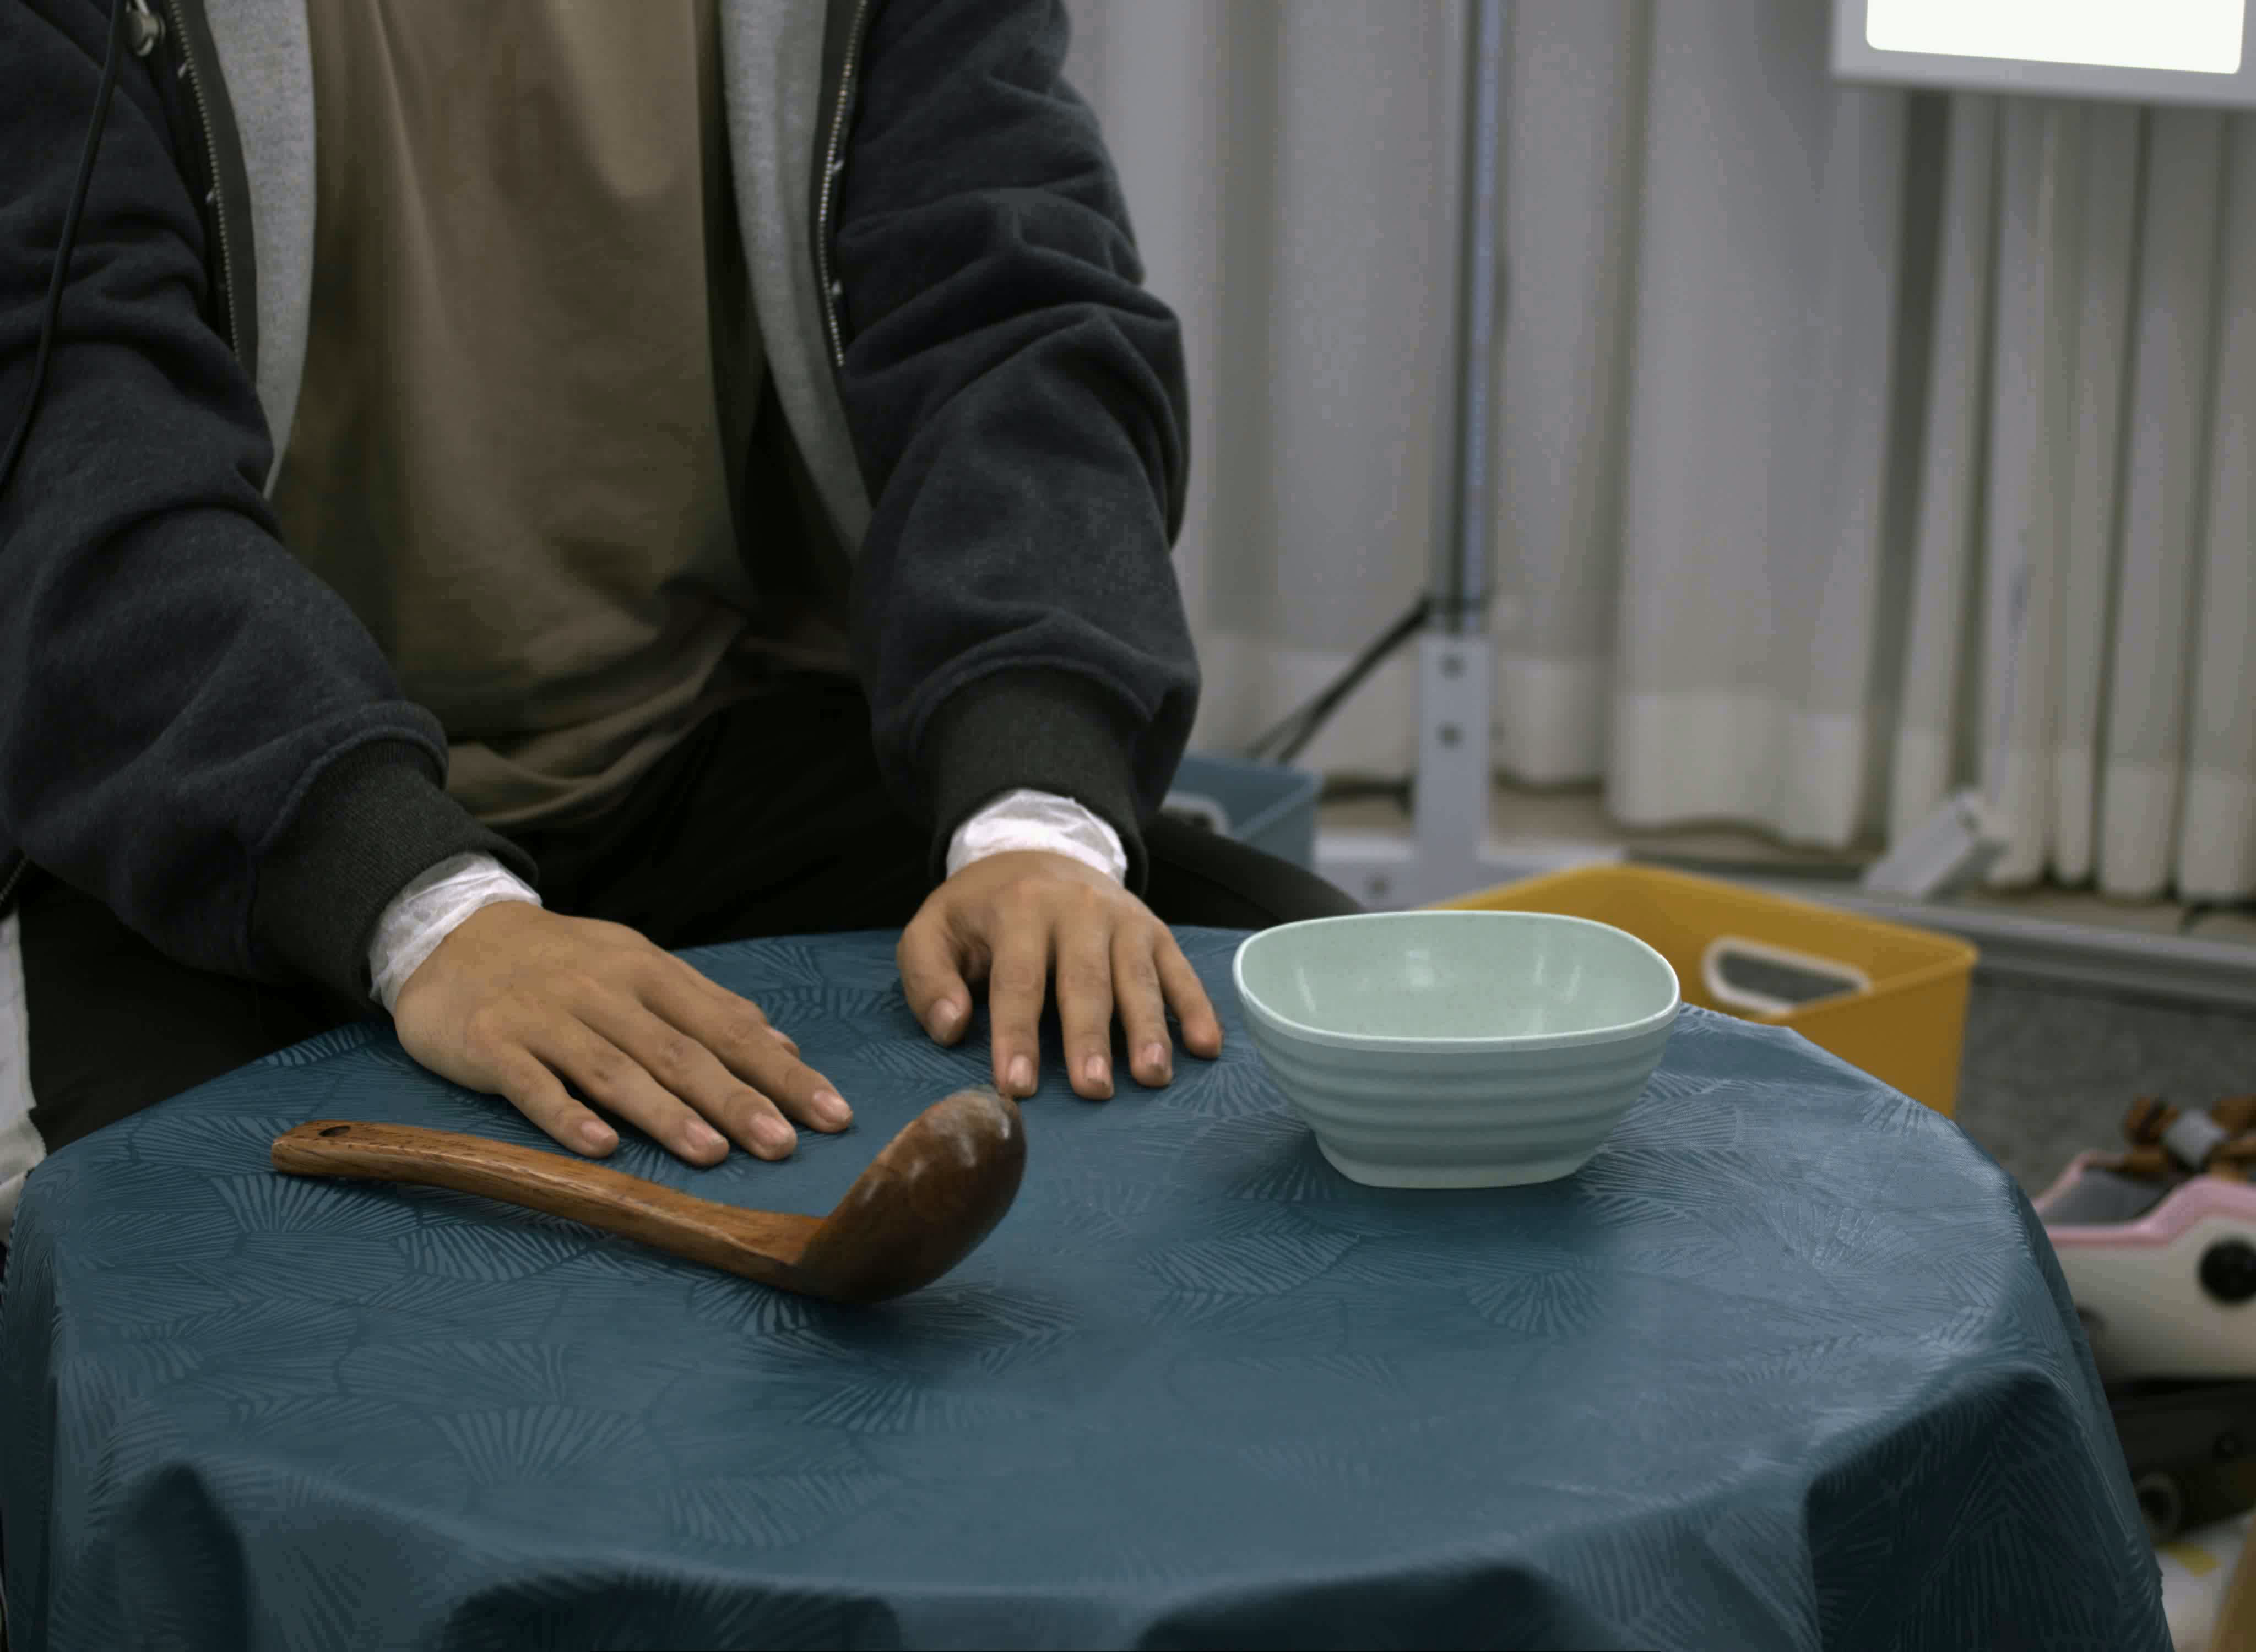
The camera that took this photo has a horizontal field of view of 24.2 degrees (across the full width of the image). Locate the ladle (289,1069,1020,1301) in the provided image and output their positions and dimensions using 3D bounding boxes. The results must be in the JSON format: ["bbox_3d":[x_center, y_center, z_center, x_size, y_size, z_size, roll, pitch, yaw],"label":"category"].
[{"bbox_3d":[-0.150,0.087,1.560,0.270,0.077,0.082,12,24,33],"label":"ladle"}]

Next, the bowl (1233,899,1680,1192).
[{"bbox_3d":[0.103,0.073,1.660,0.151,0.059,0.150,1,18,0],"label":"bowl"}]
